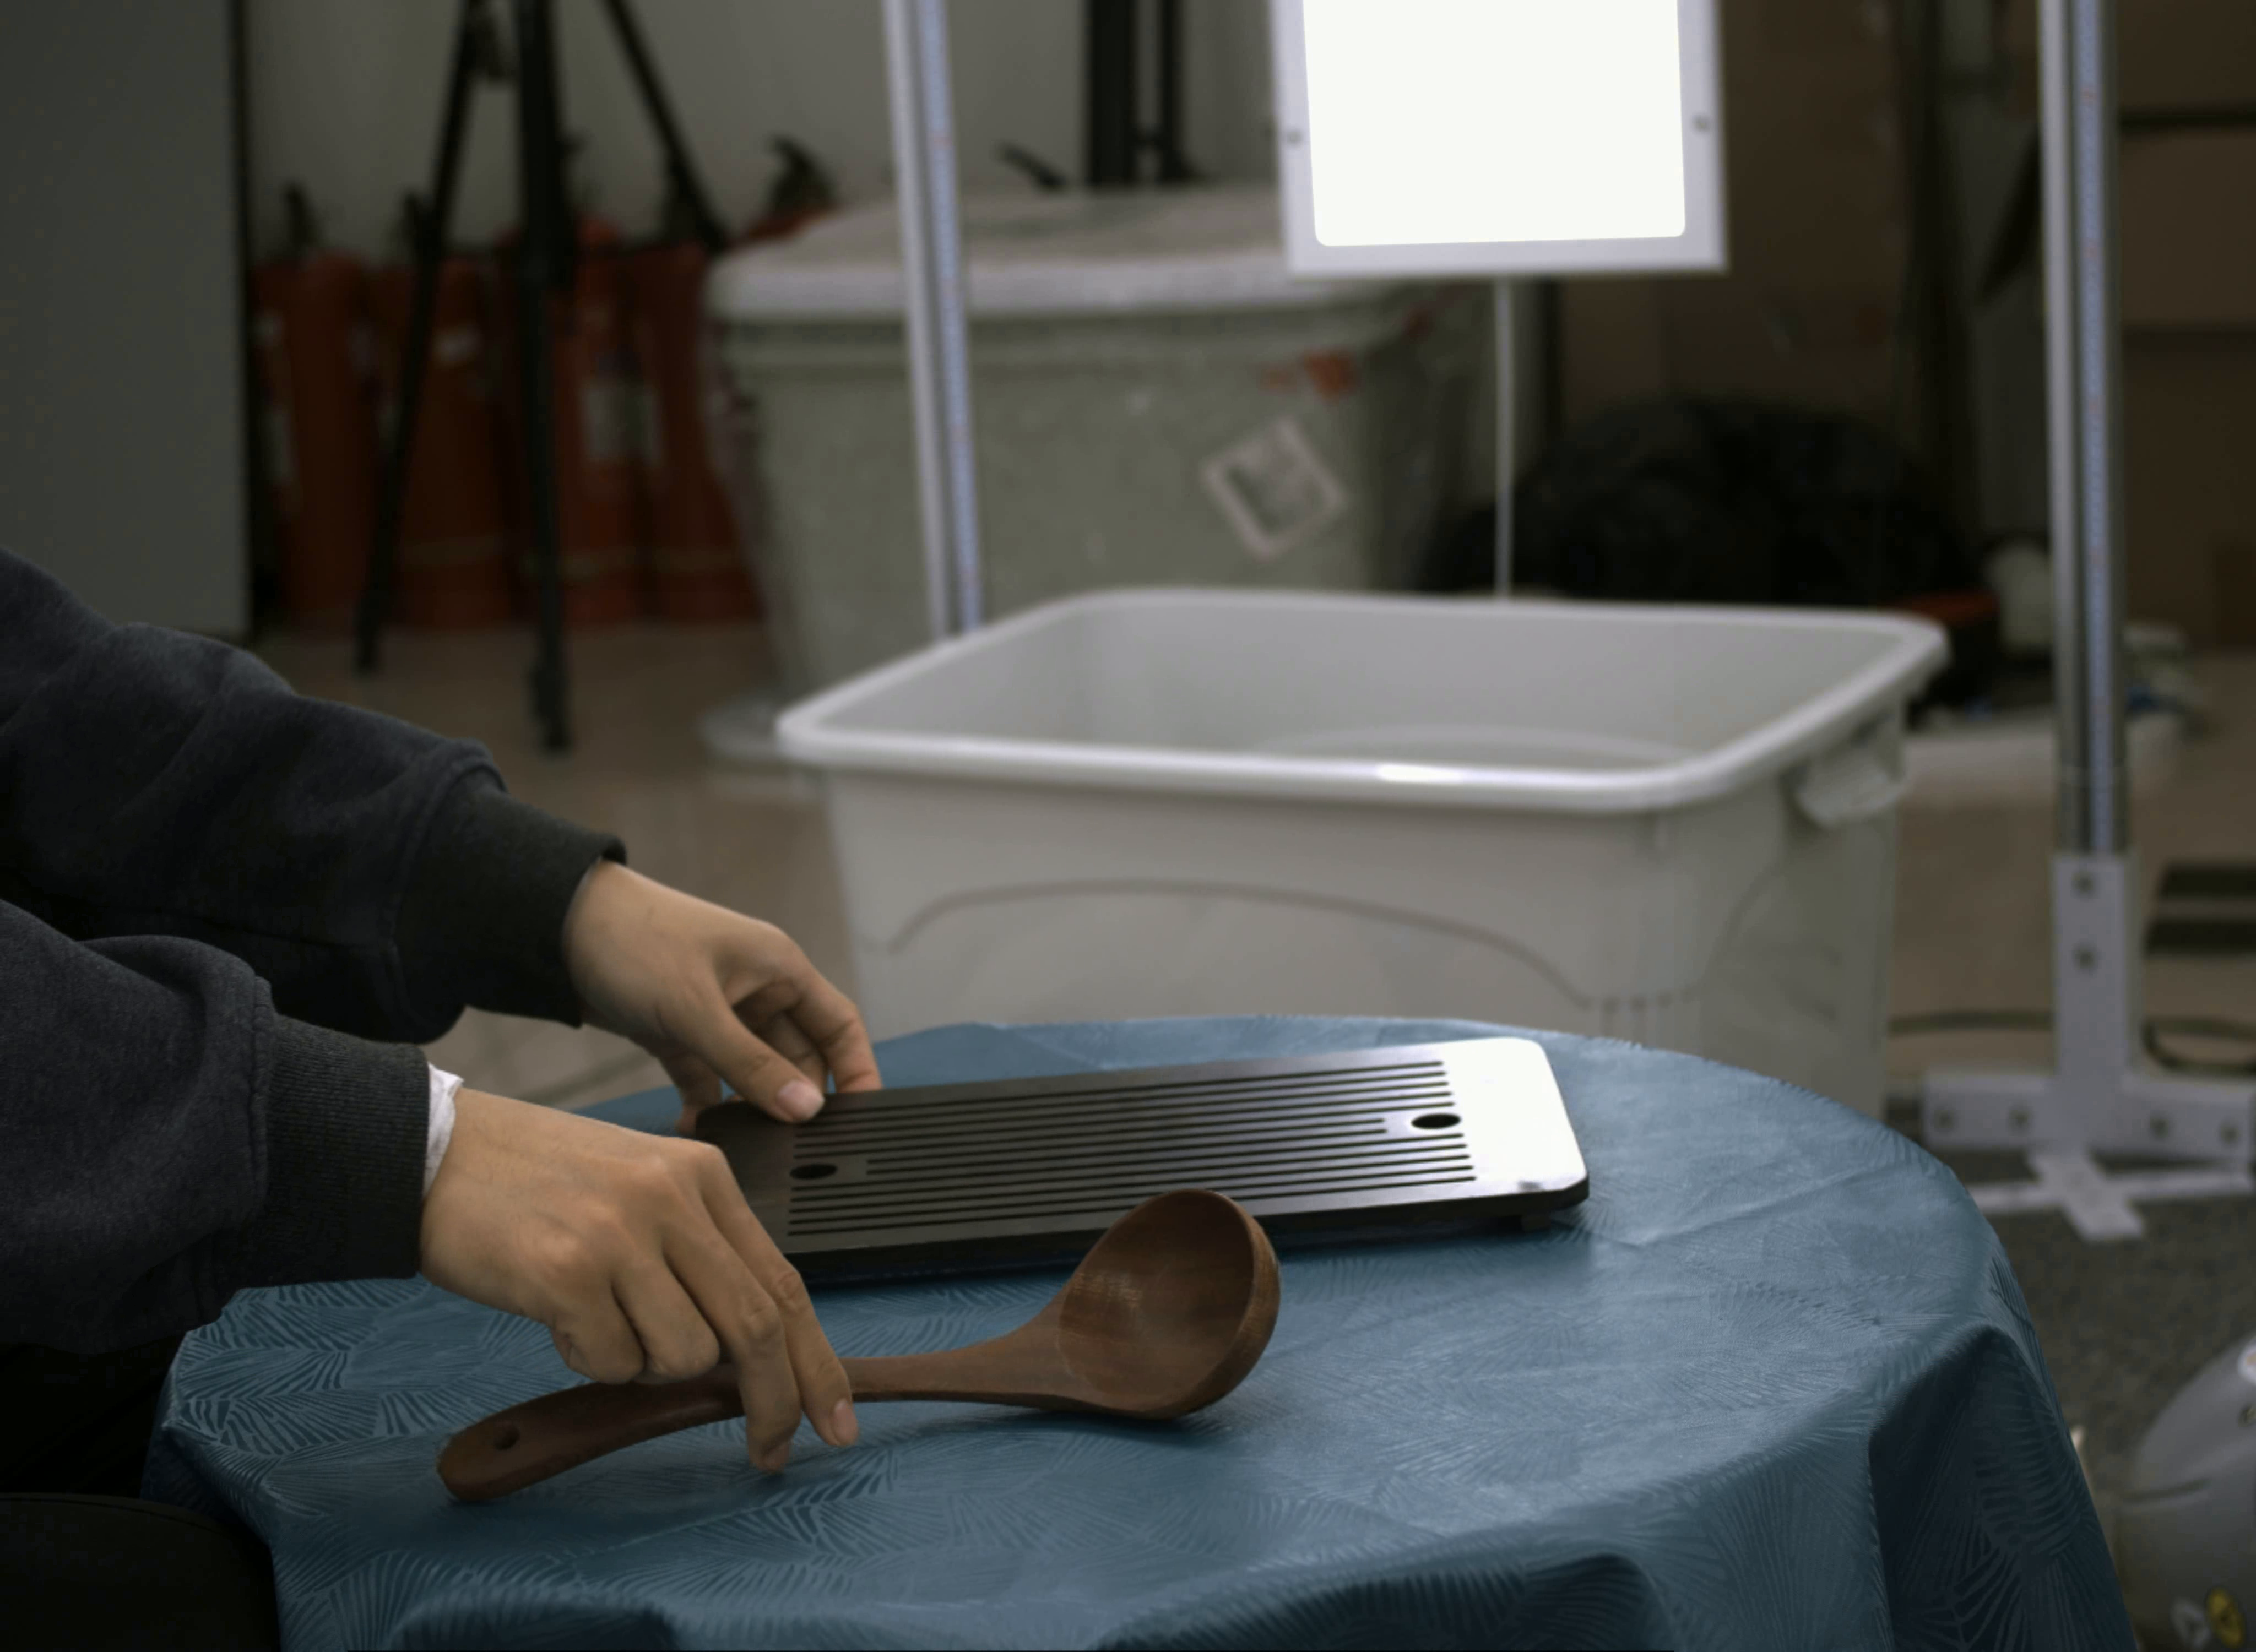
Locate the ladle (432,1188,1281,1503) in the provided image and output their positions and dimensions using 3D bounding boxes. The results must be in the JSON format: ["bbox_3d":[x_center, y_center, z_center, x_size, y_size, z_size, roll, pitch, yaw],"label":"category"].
[{"bbox_3d":[-0.081,0.159,1.663,0.257,0.065,0.077,-7,41,-9],"label":"ladle"}]

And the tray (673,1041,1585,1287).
[{"bbox_3d":[-0.001,0.116,1.897,0.305,0.019,0.169,-5,15,2],"label":"tray"}]
